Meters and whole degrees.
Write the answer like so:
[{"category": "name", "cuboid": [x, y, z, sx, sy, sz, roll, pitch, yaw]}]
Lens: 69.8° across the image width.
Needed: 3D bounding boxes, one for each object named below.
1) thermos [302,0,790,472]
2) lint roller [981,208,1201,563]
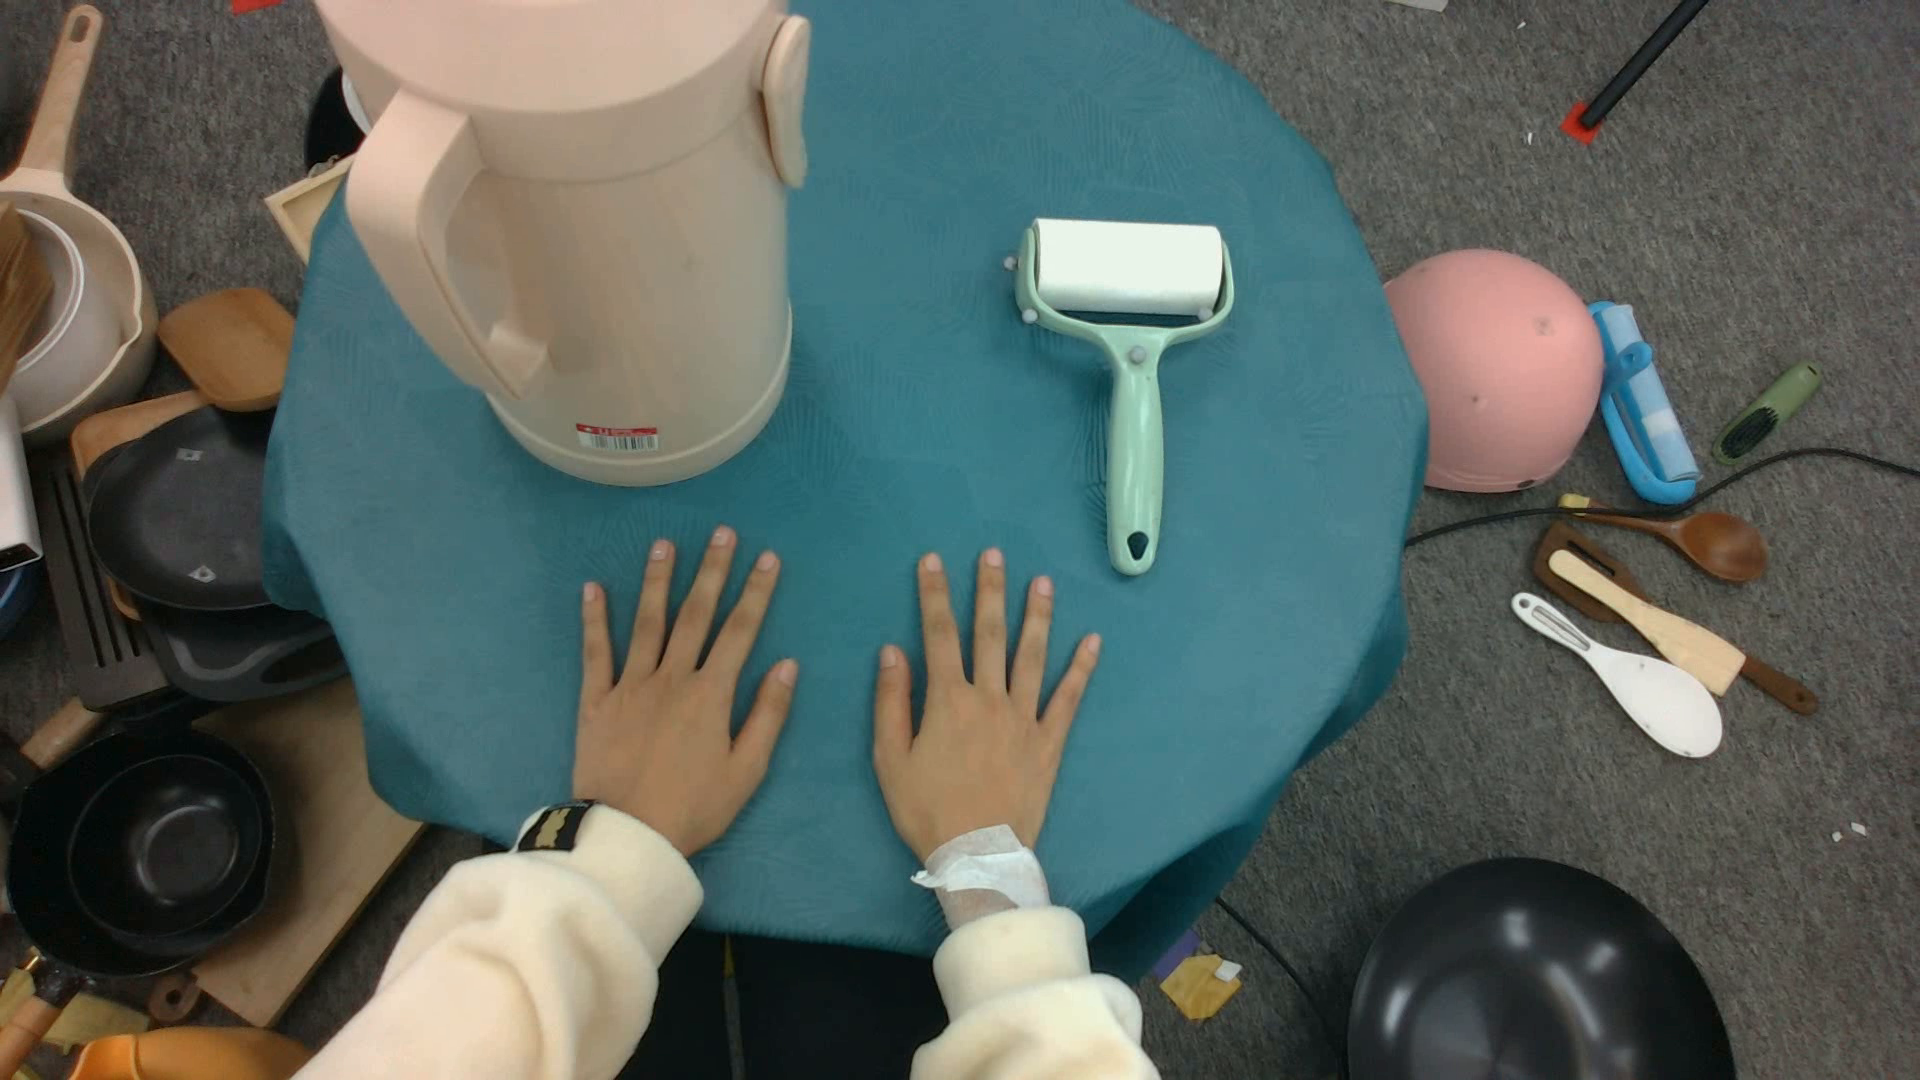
[{"category": "thermos", "cuboid": [-0.159, -0.162, 0.535, 0.175, 0.405, 0.208, 22, 69, -1]}, {"category": "lint roller", "cuboid": [0.072, -0.086, 0.729, 0.117, 0.048, 0.198, 2, 69, -10]}]
